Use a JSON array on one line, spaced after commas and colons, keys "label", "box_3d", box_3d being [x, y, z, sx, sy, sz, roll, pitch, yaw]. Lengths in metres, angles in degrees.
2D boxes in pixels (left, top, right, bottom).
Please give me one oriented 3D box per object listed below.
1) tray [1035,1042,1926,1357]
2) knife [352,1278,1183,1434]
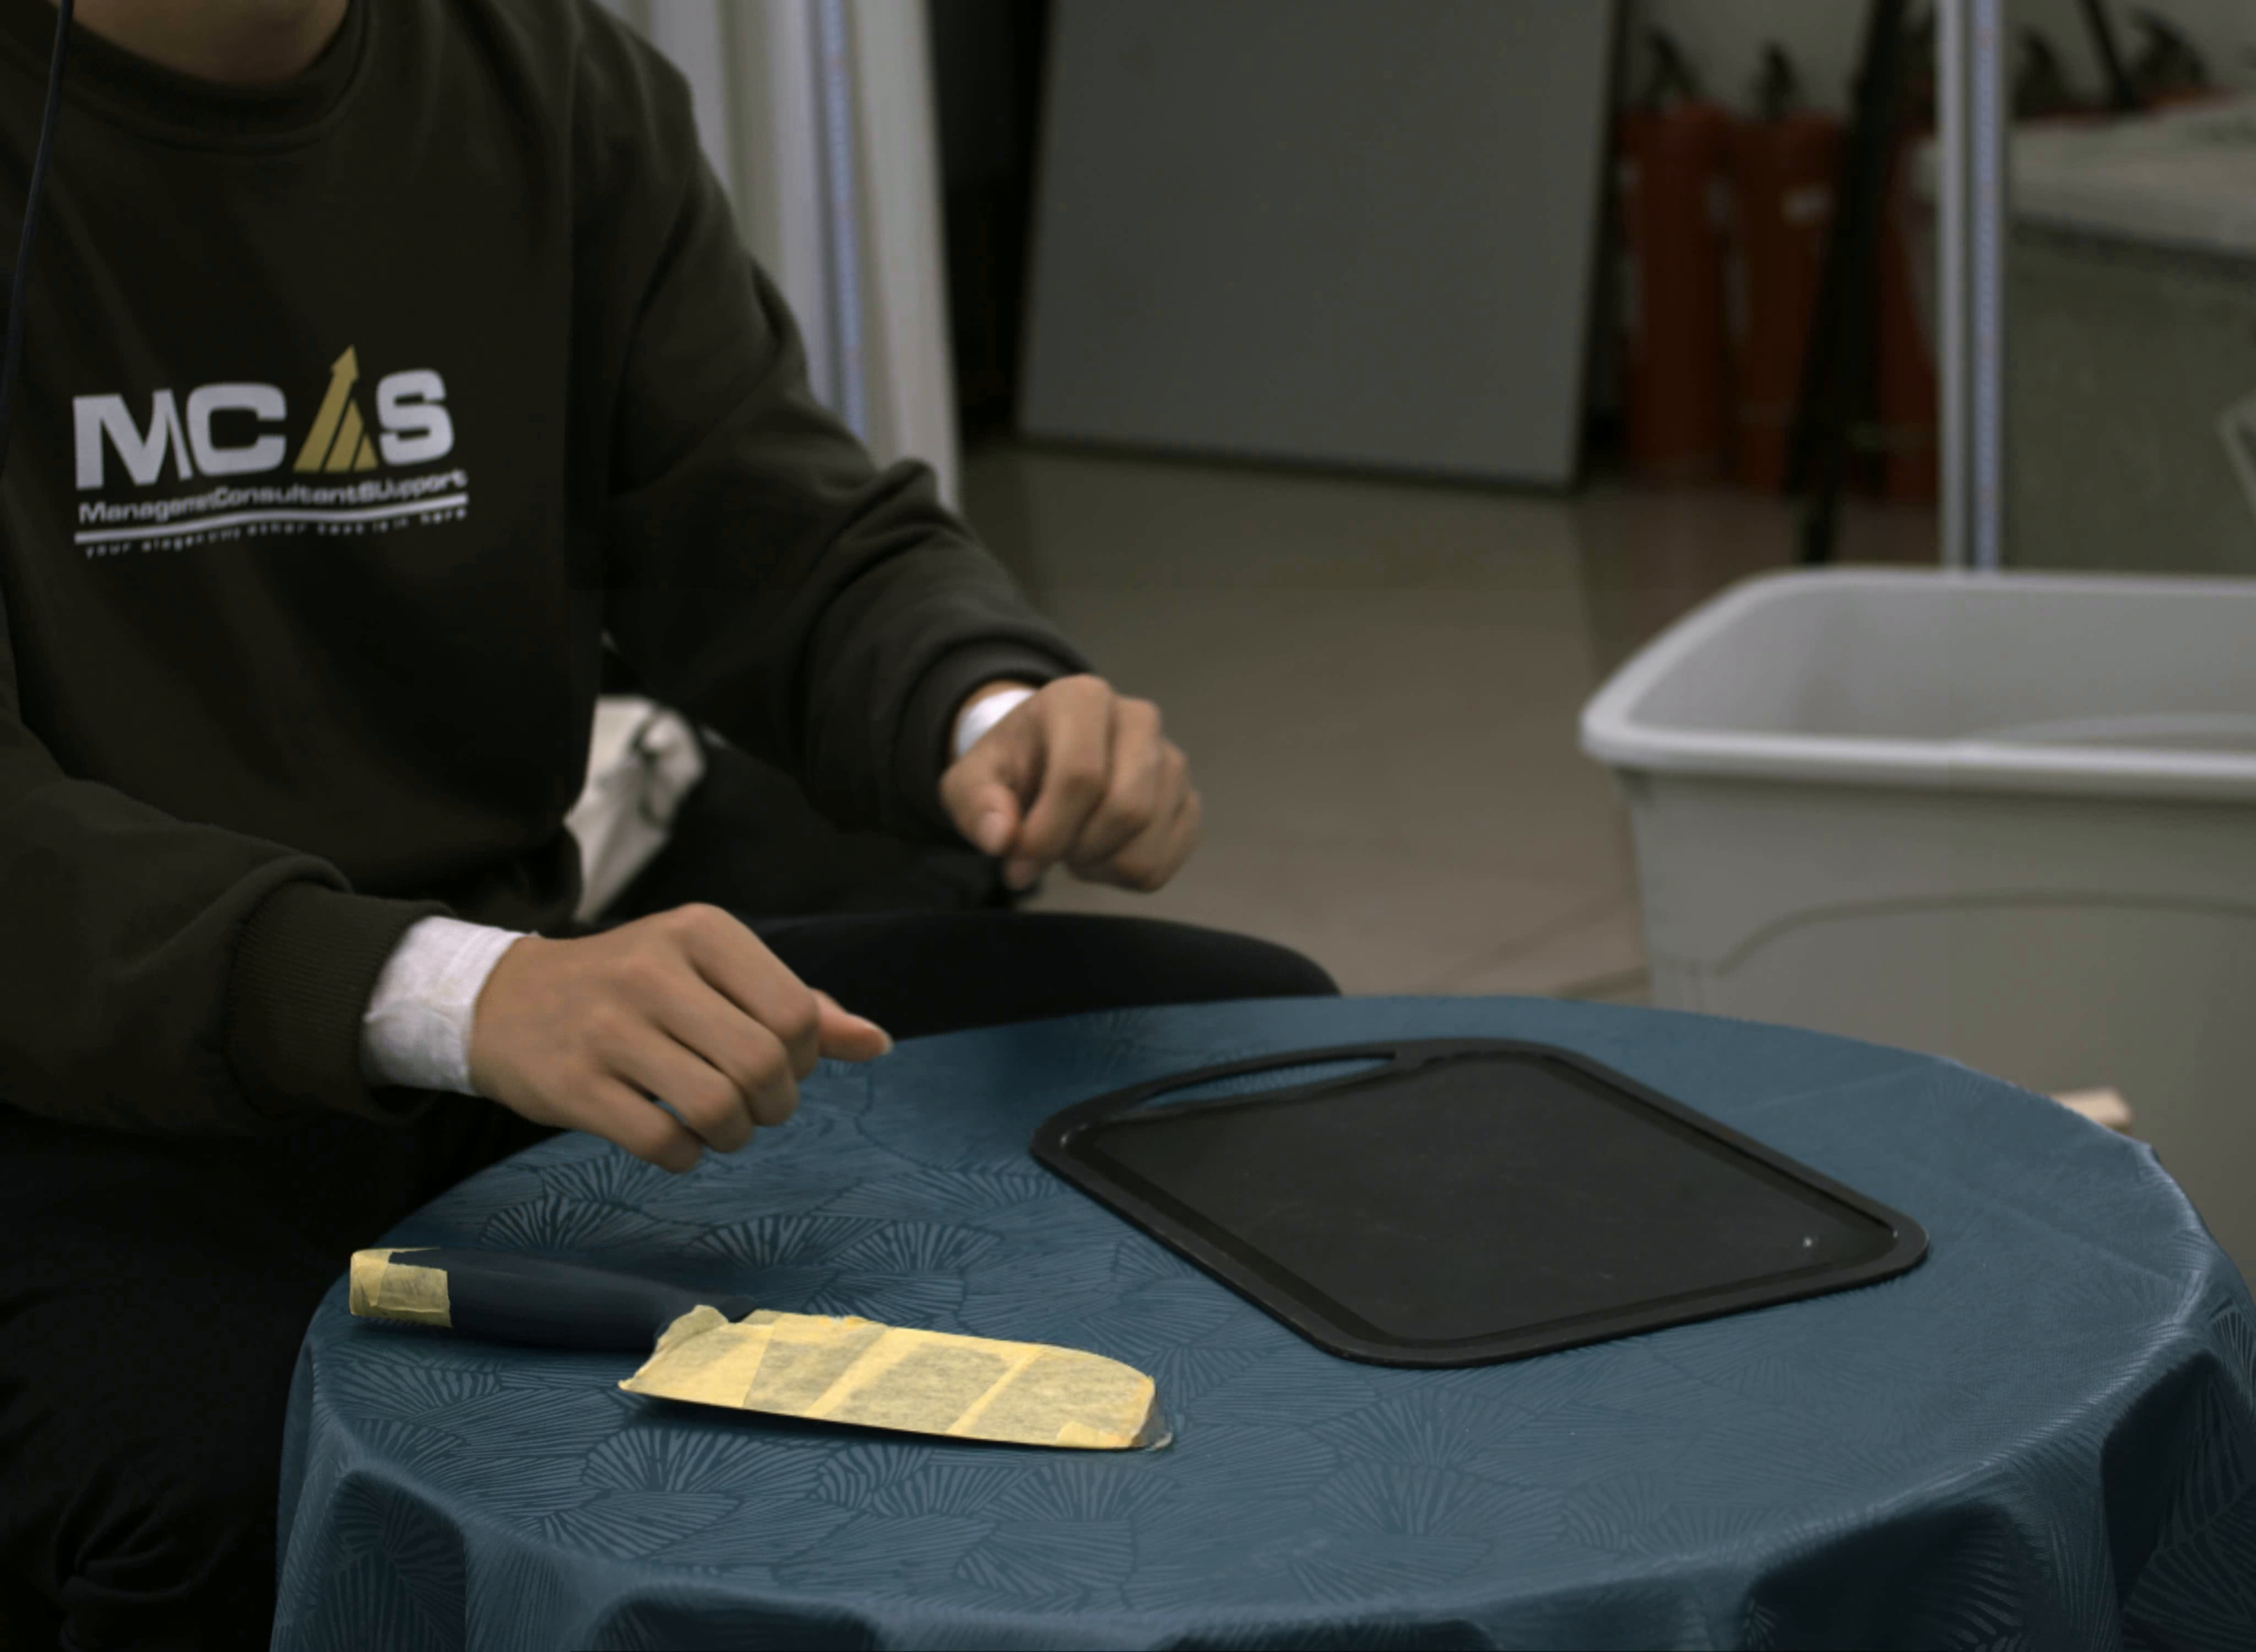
[{"label": "tray", "box_3d": [0.104, 0.115, 1.755, 0.206, 0.010, 0.328, -9, 14, -21]}, {"label": "knife", "box_3d": [-0.114, 0.161, 1.614, 0.290, 0.027, 0.080, 3, 14, 26]}]
